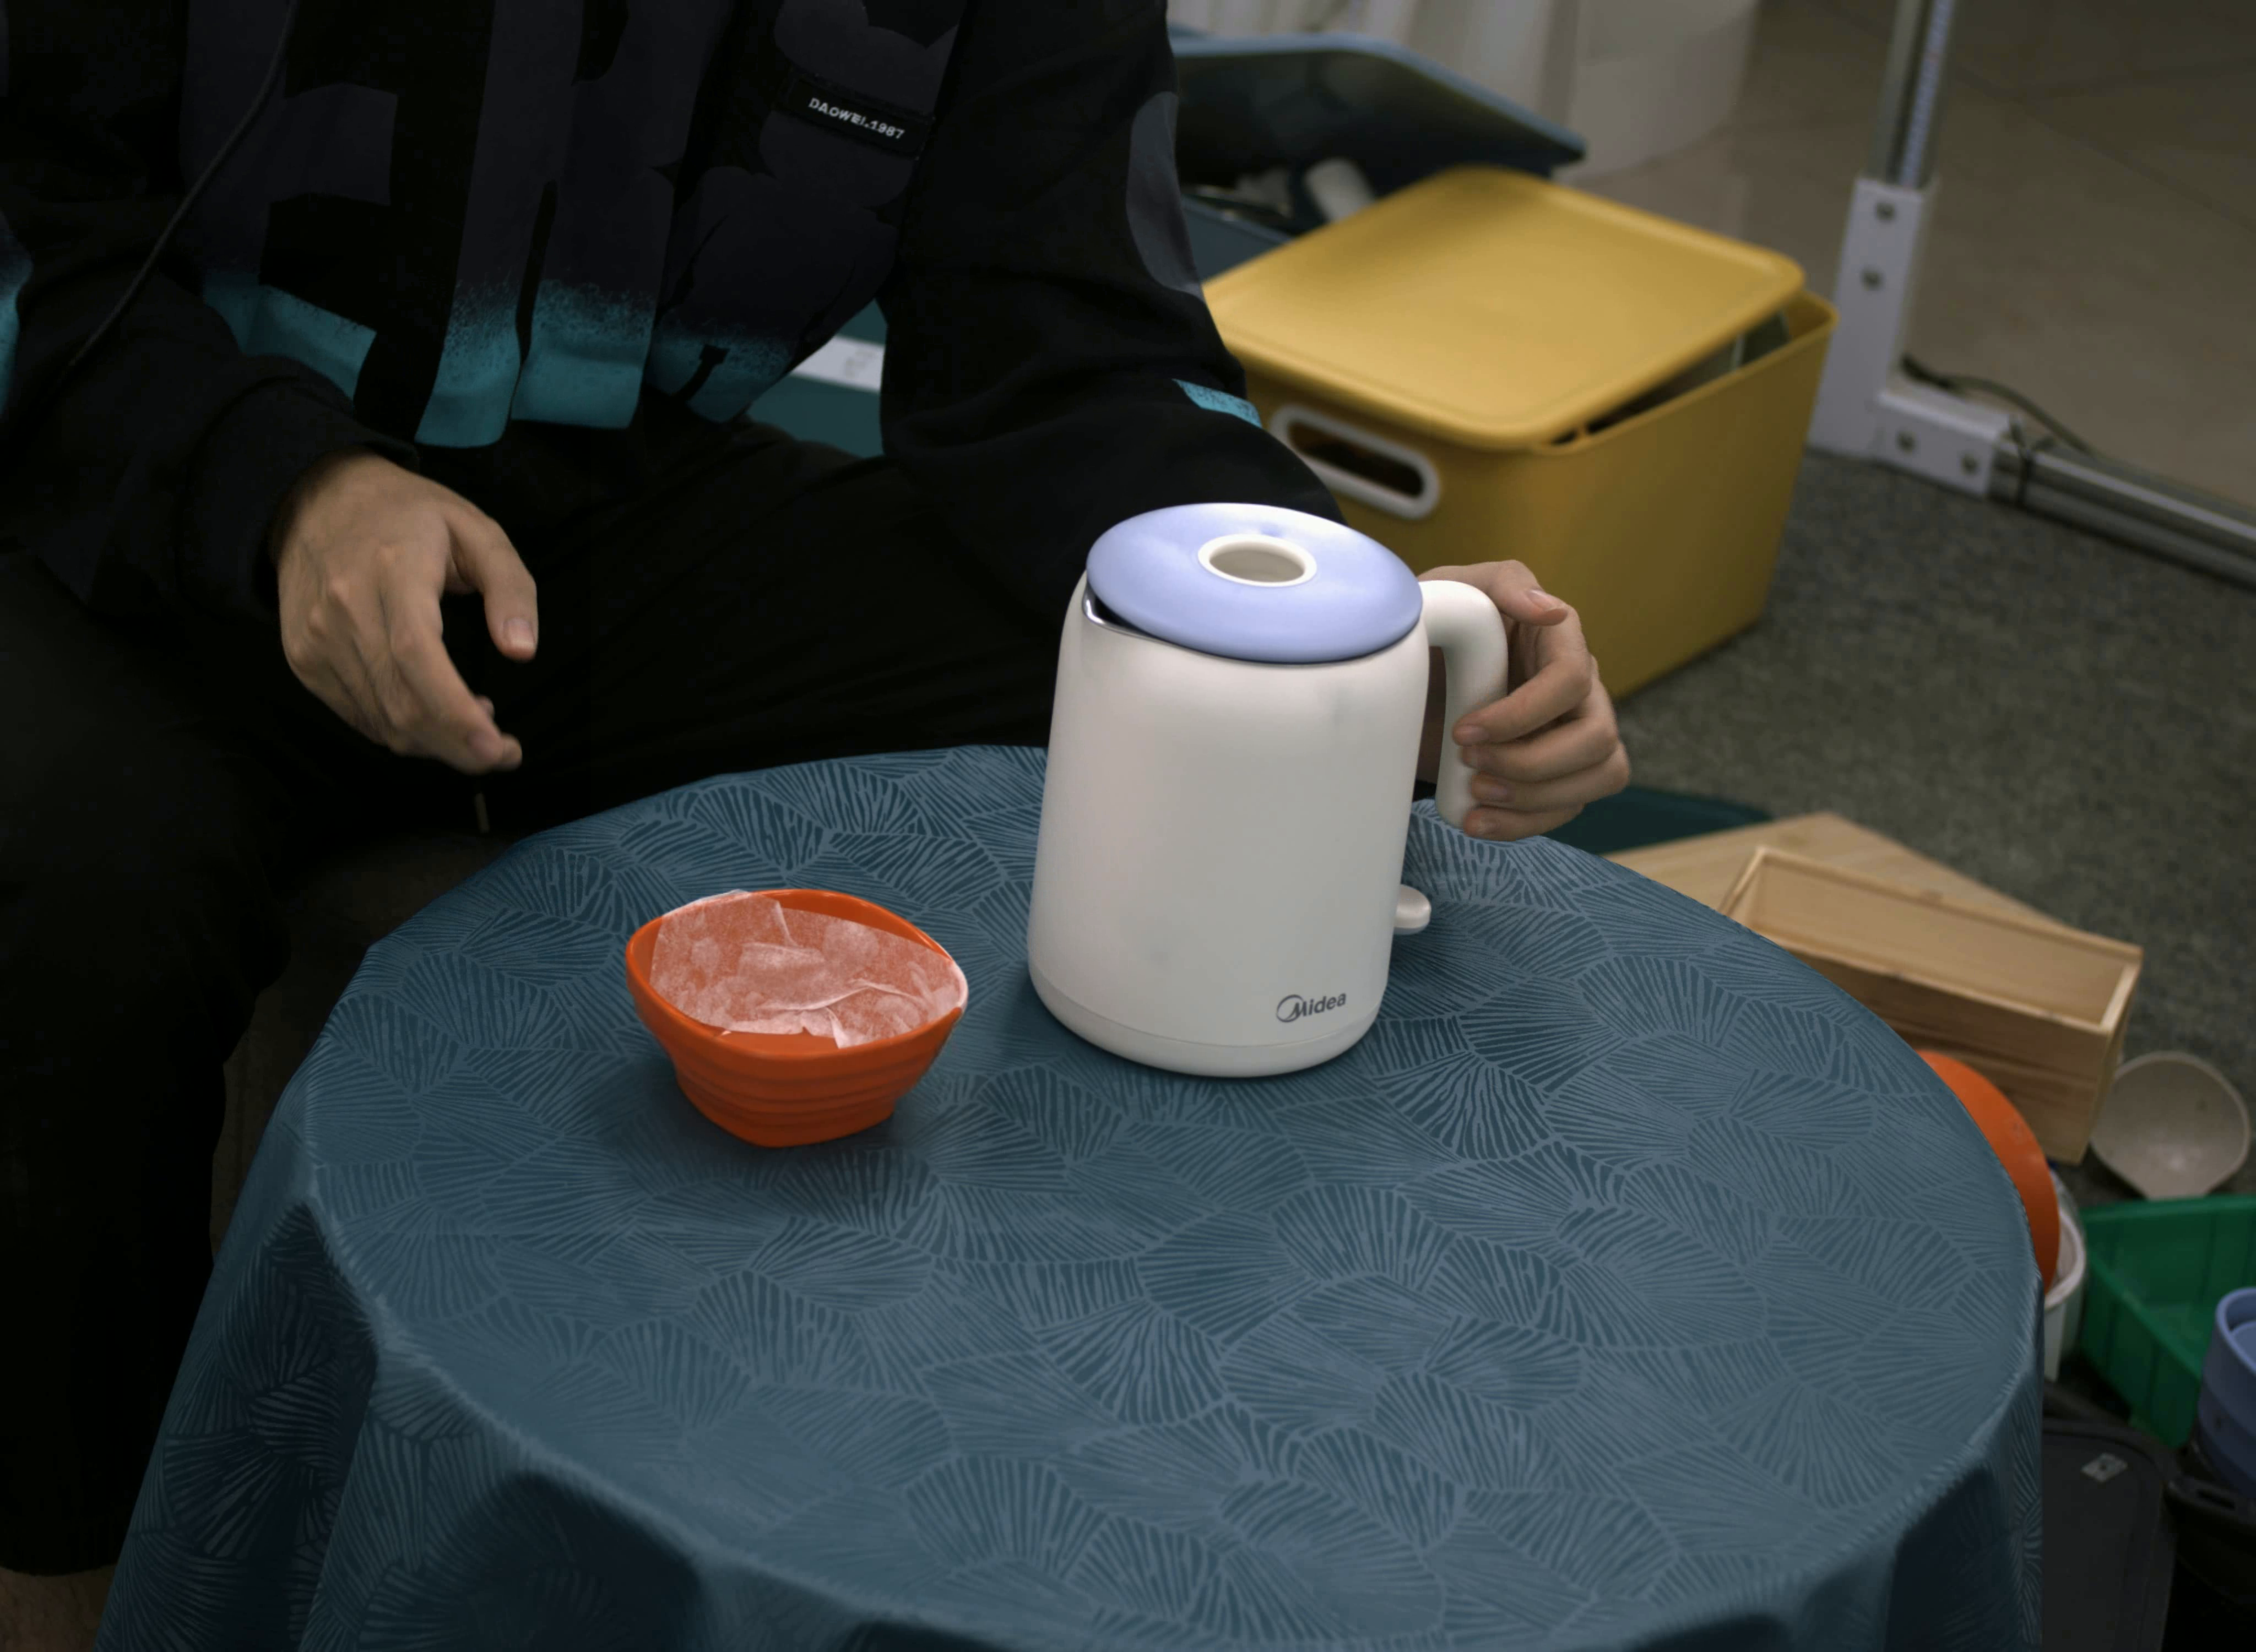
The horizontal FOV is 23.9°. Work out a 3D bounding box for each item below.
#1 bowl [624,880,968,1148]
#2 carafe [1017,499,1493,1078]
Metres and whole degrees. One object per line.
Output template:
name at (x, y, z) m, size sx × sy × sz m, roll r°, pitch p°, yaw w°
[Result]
bowl at (-0.115, 0.069, 1.822) m, size 0.118 × 0.051 × 0.119 m, roll 5°, pitch 30°, yaw -3°
carafe at (0.054, -0.017, 1.901) m, size 0.190 × 0.182 × 0.133 m, roll -10°, pitch 32°, yaw -34°
